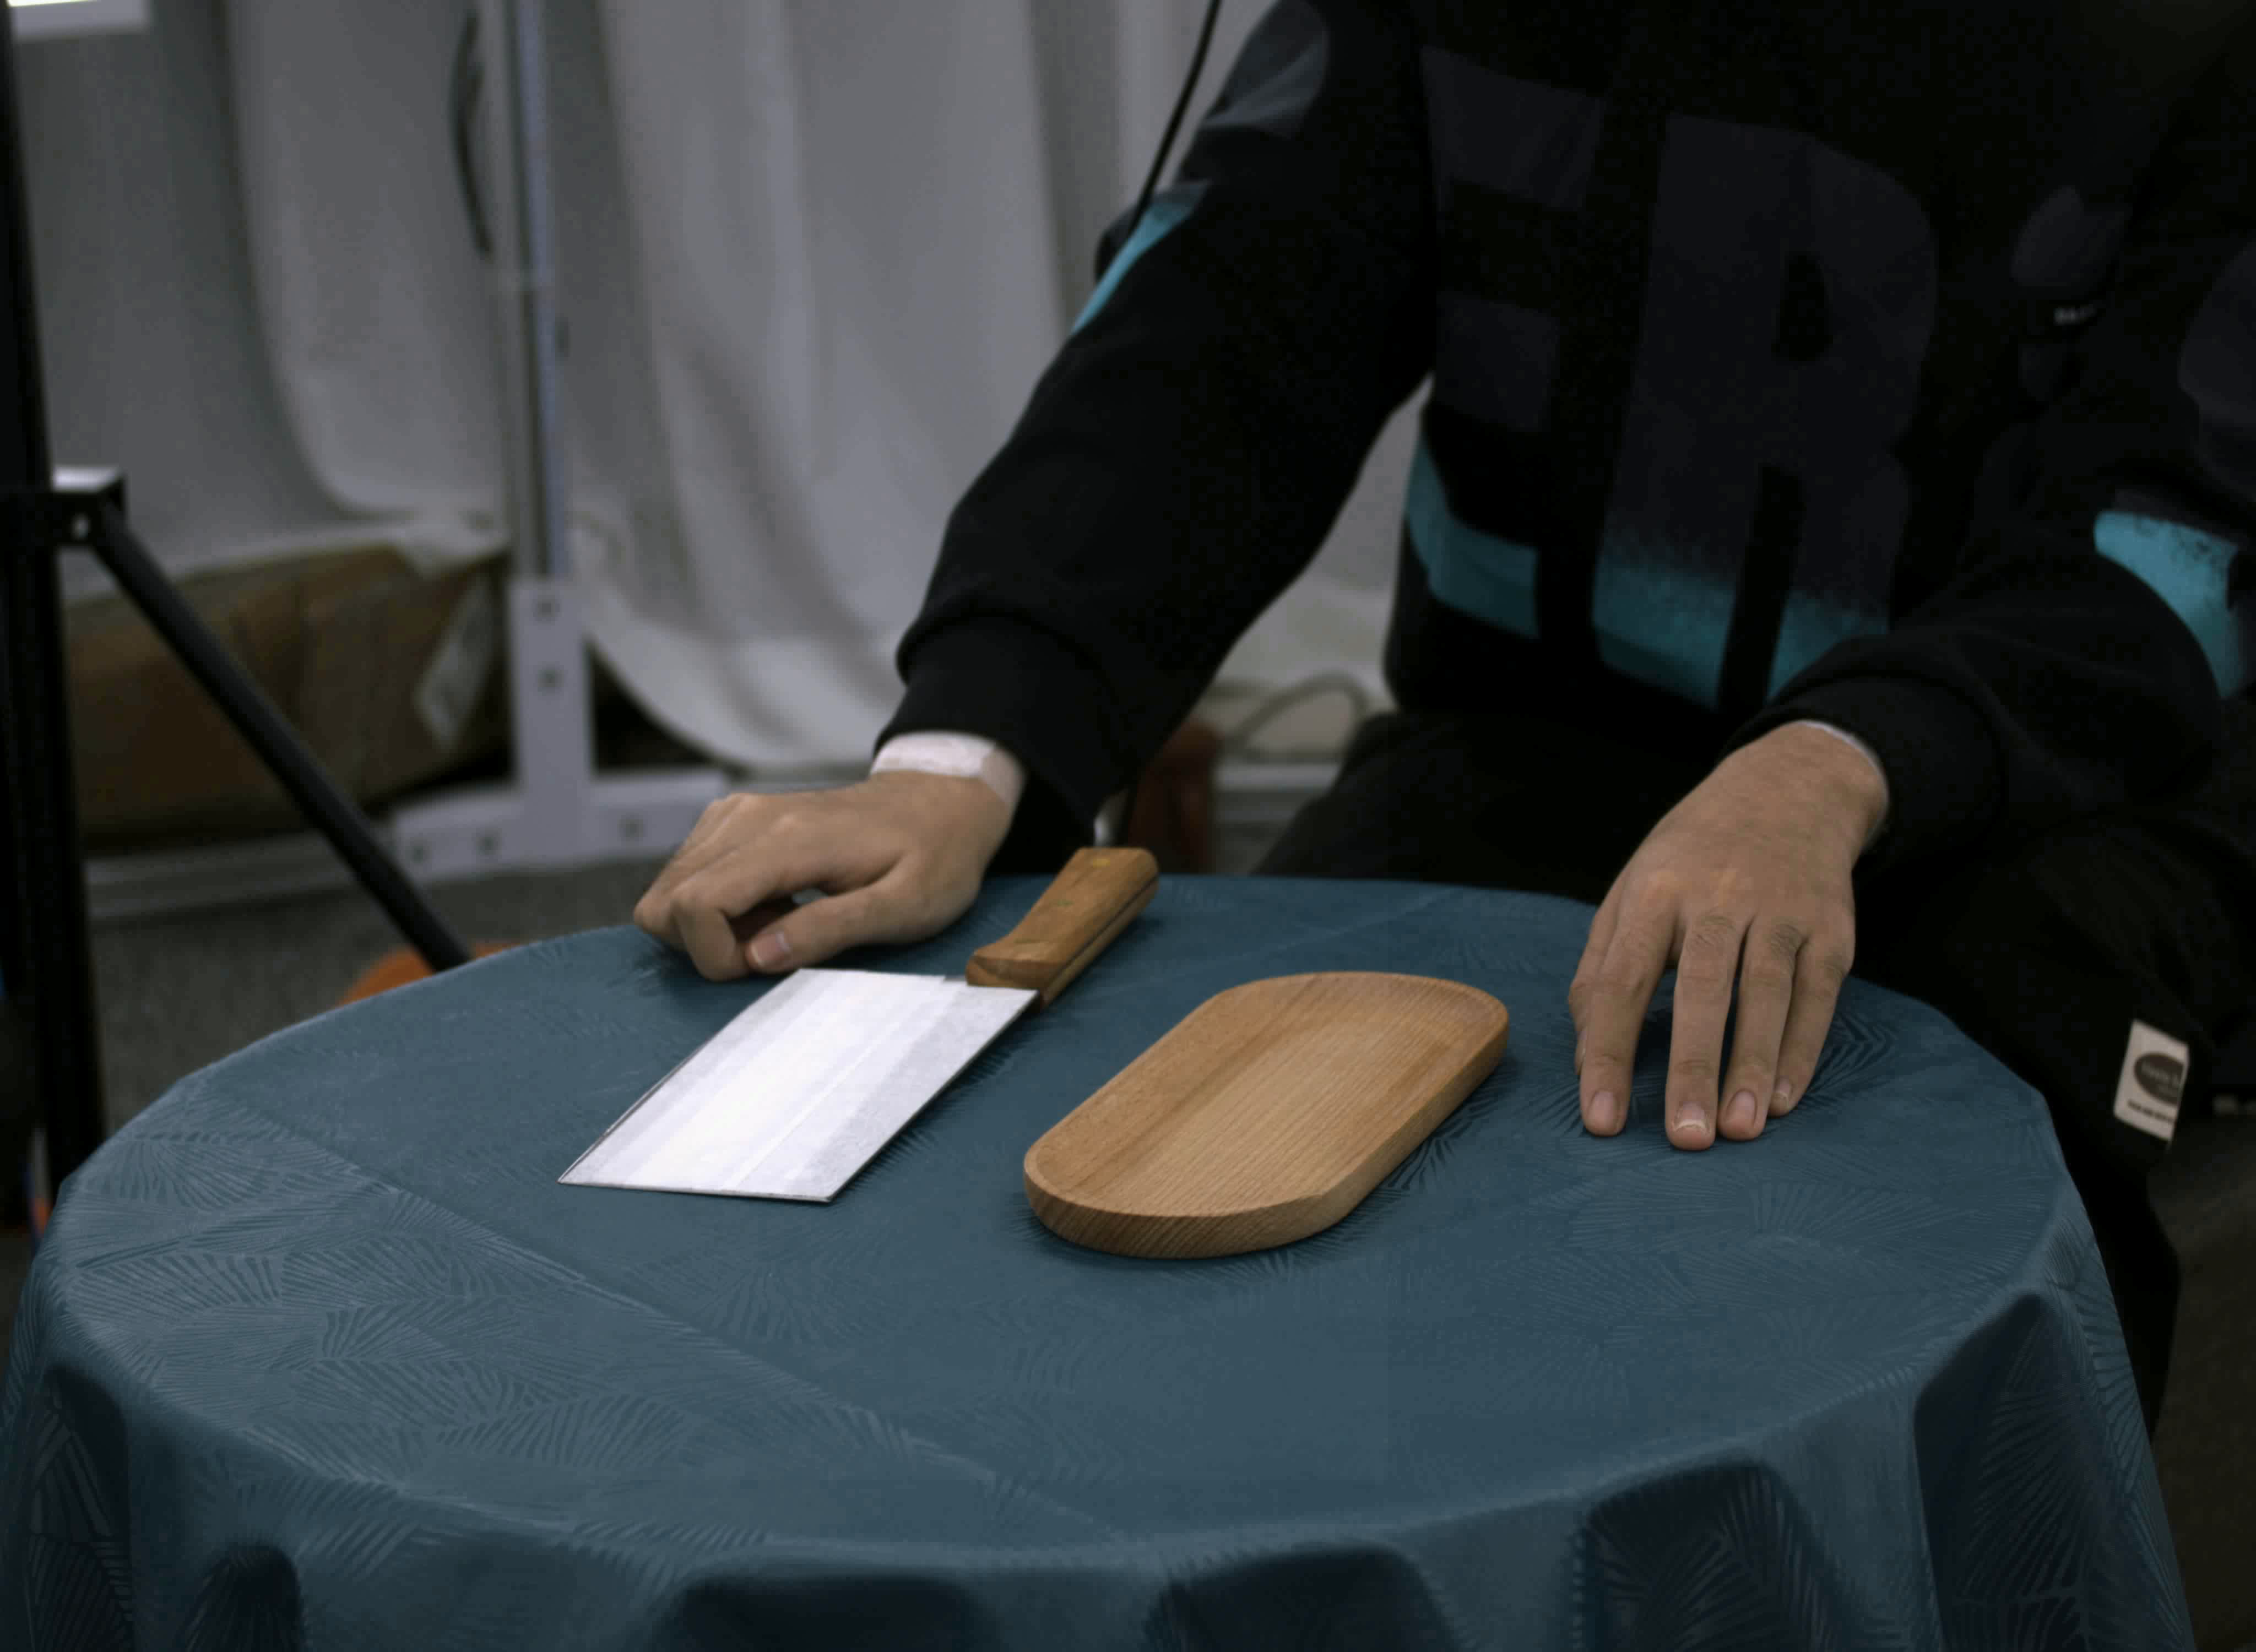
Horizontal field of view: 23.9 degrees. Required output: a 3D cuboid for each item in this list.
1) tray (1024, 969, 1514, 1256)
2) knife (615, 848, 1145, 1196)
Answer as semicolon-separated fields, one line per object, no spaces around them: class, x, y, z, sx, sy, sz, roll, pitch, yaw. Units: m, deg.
tray;0.045;0.084;1.603;0.103;0.020;0.228;5;17;23
knife;-0.078;0.061;1.708;0.094;0.021;0.302;1;18;20
